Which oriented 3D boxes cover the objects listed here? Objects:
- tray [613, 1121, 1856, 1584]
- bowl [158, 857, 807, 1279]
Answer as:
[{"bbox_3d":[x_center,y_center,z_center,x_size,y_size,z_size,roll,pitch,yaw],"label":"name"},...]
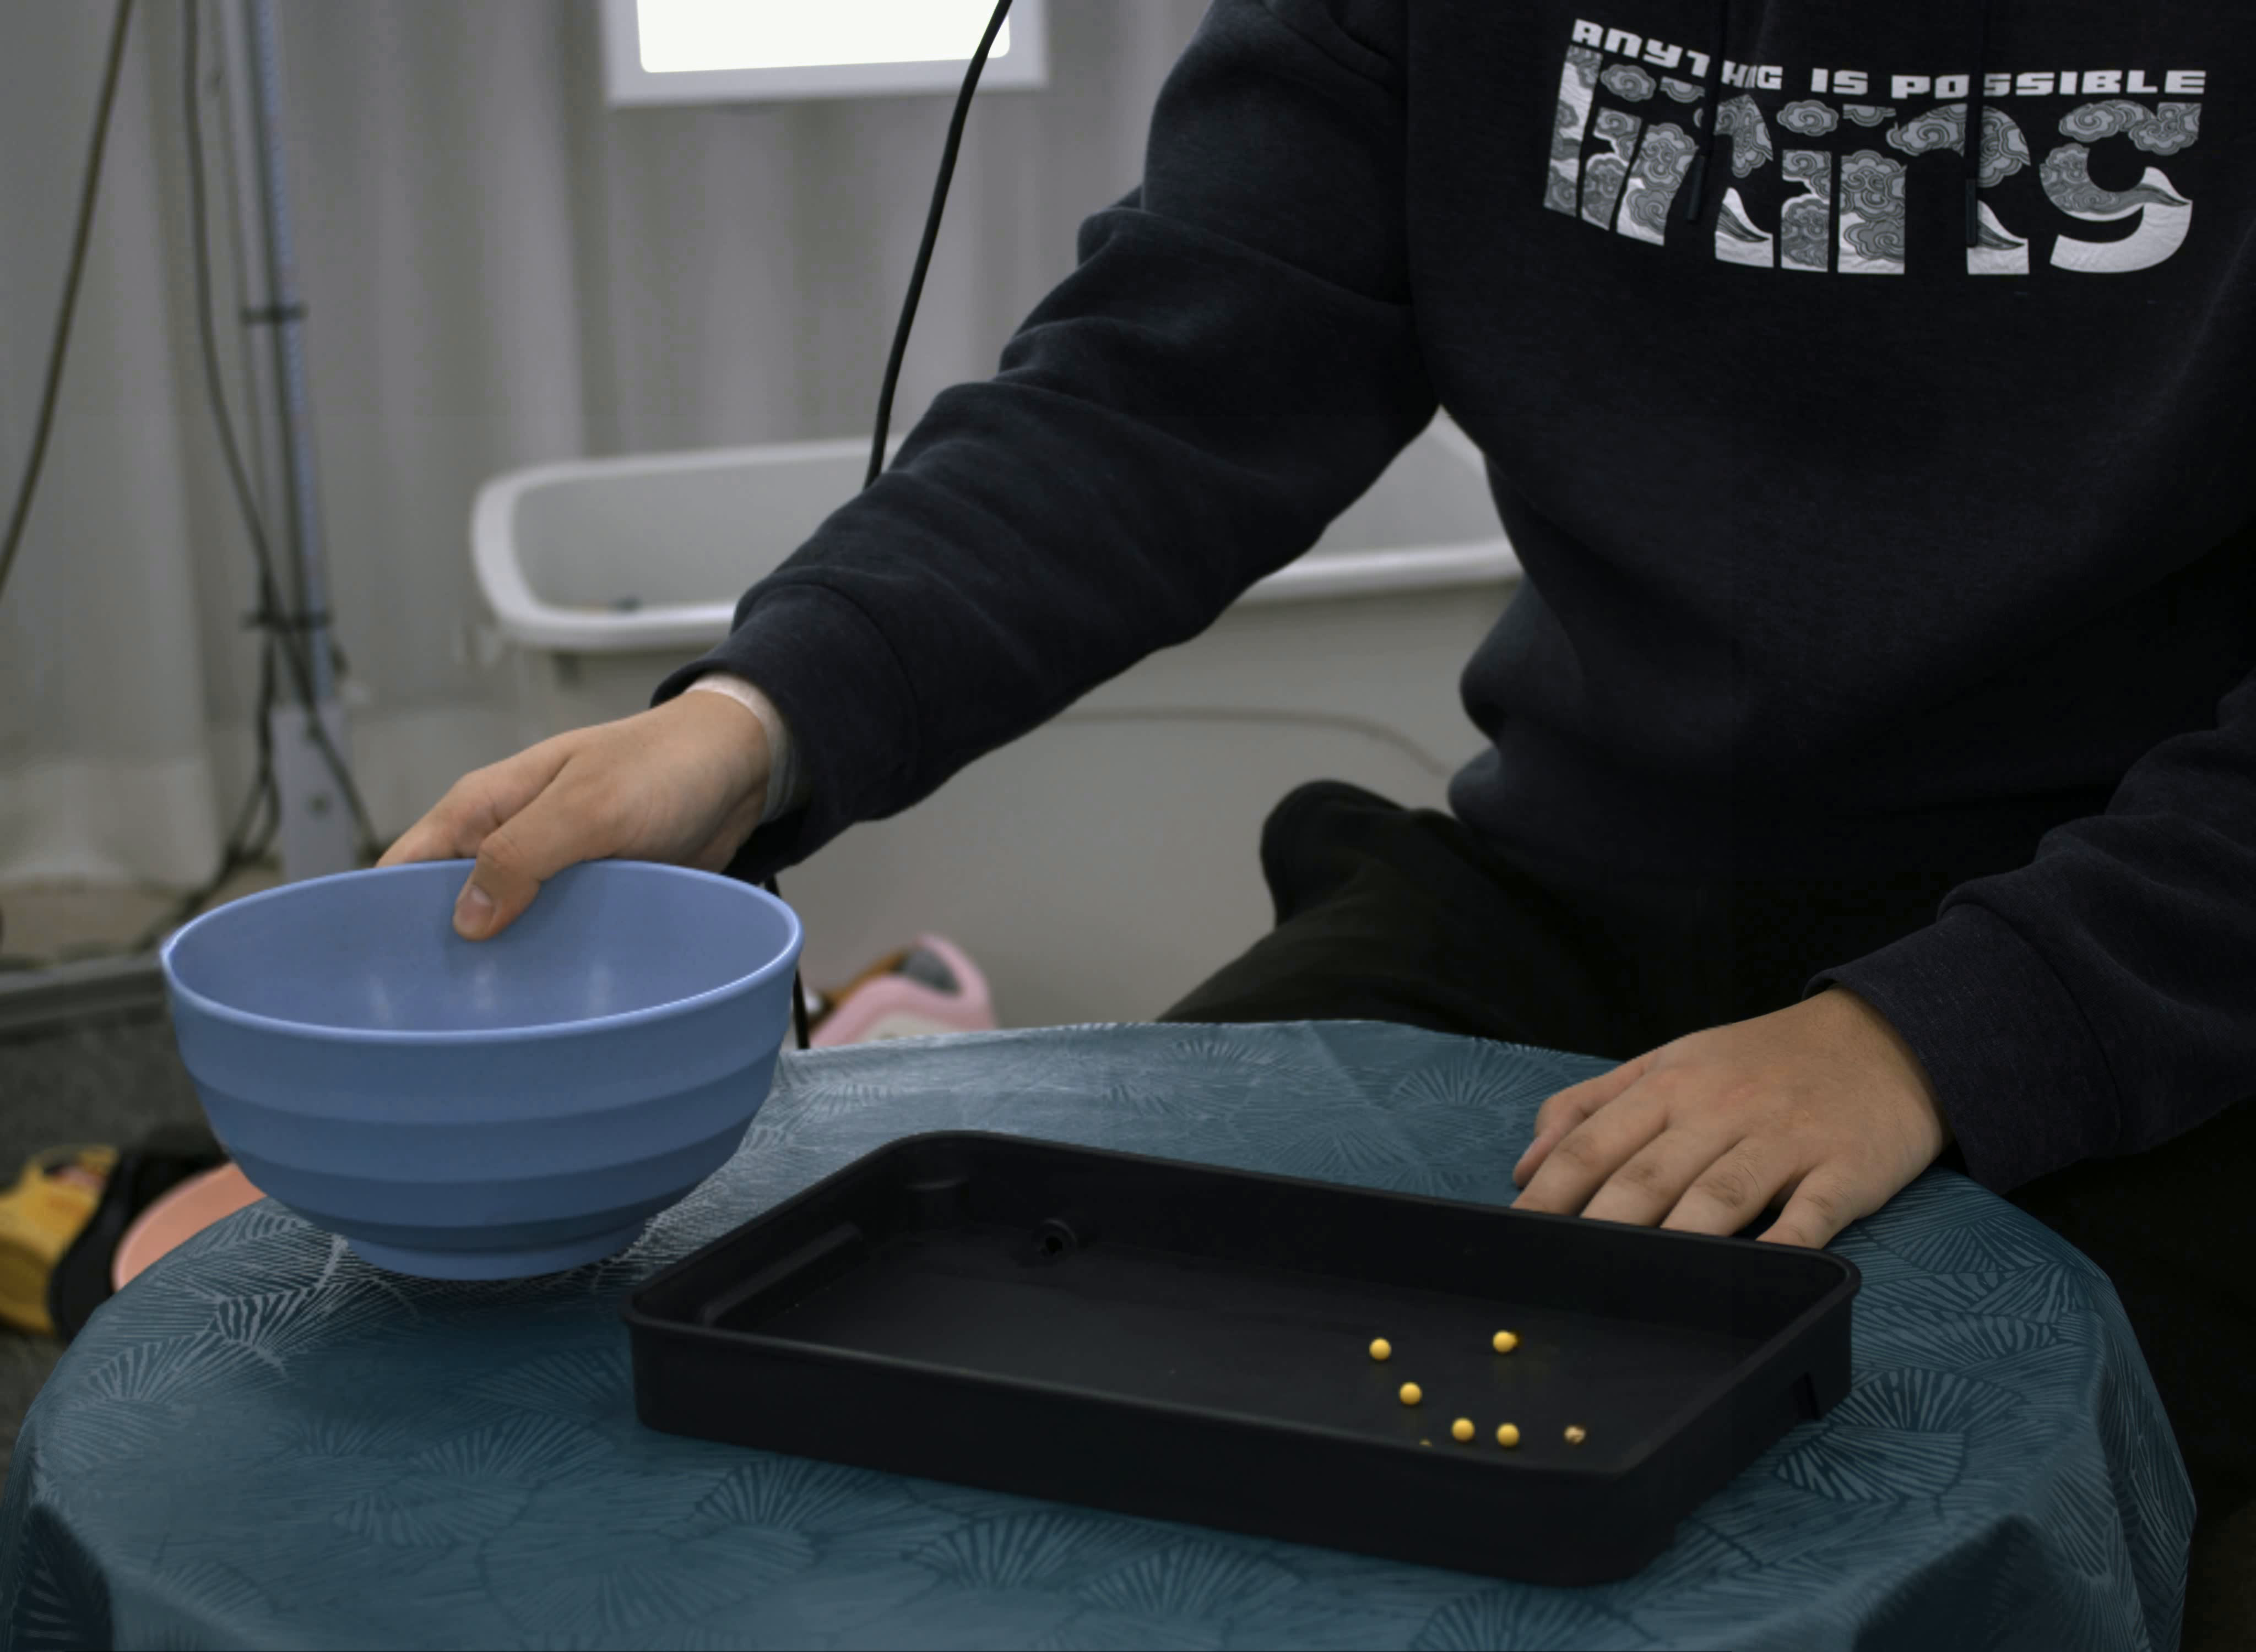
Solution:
[{"bbox_3d":[0.029,0.143,1.533,0.319,0.037,0.184,6,17,29],"label":"tray"},{"bbox_3d":[-0.193,0.079,1.669,0.196,0.095,0.198,-2,14,0],"label":"bowl"}]
